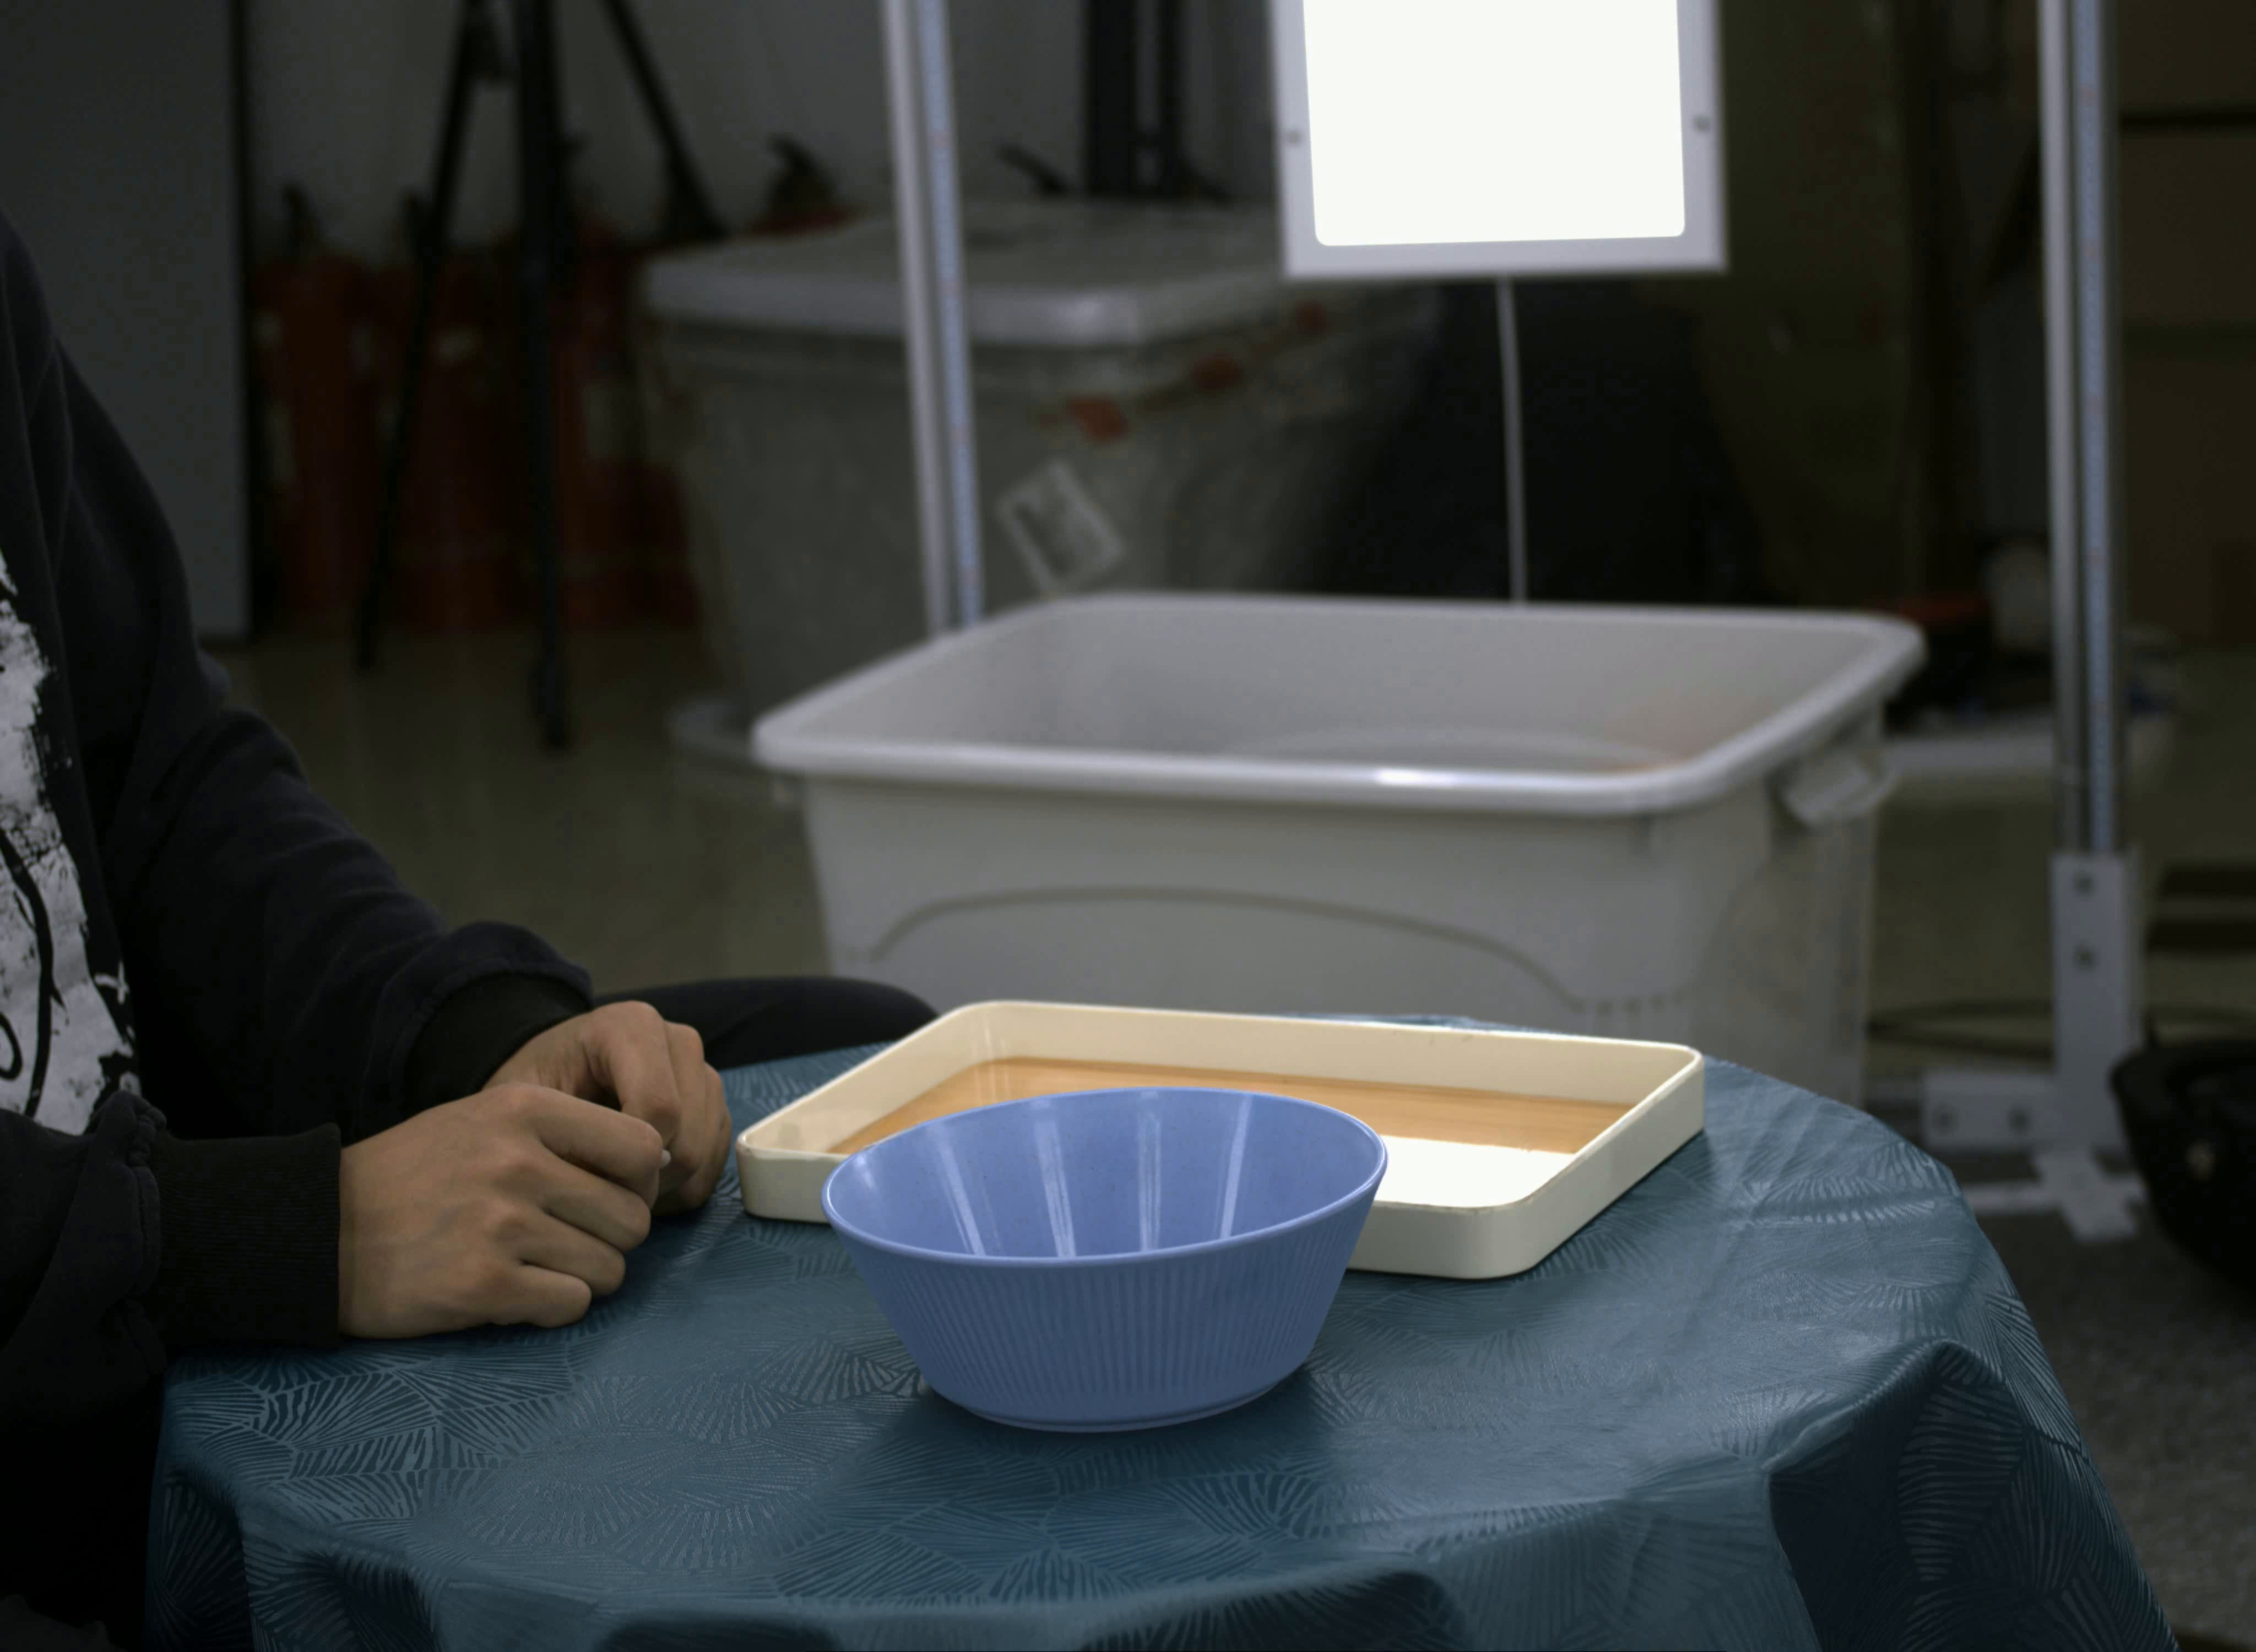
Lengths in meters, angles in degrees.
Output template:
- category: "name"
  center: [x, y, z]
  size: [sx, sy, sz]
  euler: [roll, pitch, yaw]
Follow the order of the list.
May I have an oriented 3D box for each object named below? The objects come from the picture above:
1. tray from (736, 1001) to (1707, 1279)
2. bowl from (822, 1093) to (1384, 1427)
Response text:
- category: "tray"
  center: [0.034, 0.107, 1.912]
  size: [0.305, 0.027, 0.187]
  euler: [3, 16, 29]
- category: "bowl"
  center: [-0.006, 0.137, 1.708]
  size: [0.175, 0.070, 0.176]
  euler: [-4, 13, 0]
